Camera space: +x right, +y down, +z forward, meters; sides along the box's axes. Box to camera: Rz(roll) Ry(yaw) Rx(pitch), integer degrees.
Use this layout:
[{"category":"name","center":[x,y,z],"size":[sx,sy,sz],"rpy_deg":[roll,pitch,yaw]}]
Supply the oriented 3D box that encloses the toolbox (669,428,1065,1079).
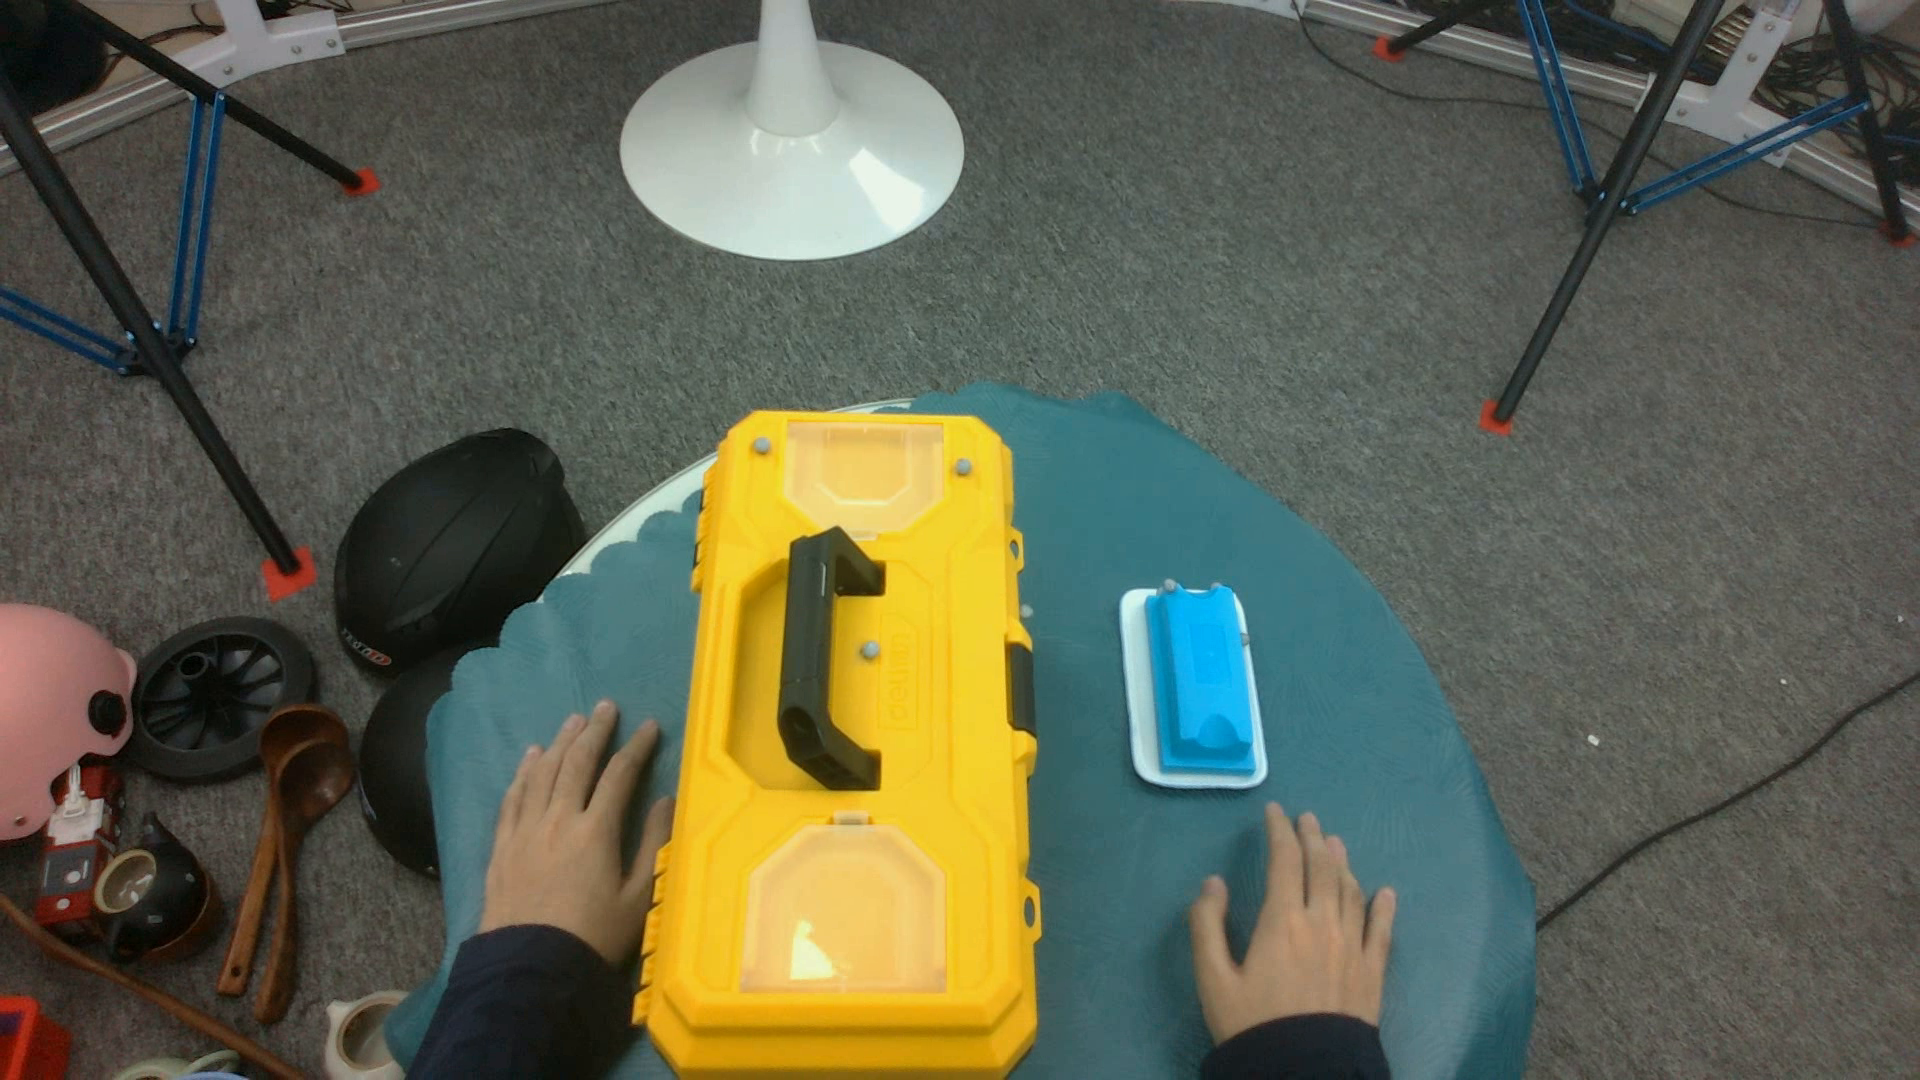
[{"category":"toolbox","center":[-0.048,0.116,0.729],"size":[0.181,0.172,0.353],"rpy_deg":[0,53,-3]}]

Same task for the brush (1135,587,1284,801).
[{"category":"brush","center":[0.149,0.085,0.833],"size":[0.084,0.055,0.144],"rpy_deg":[0,51,1]}]
